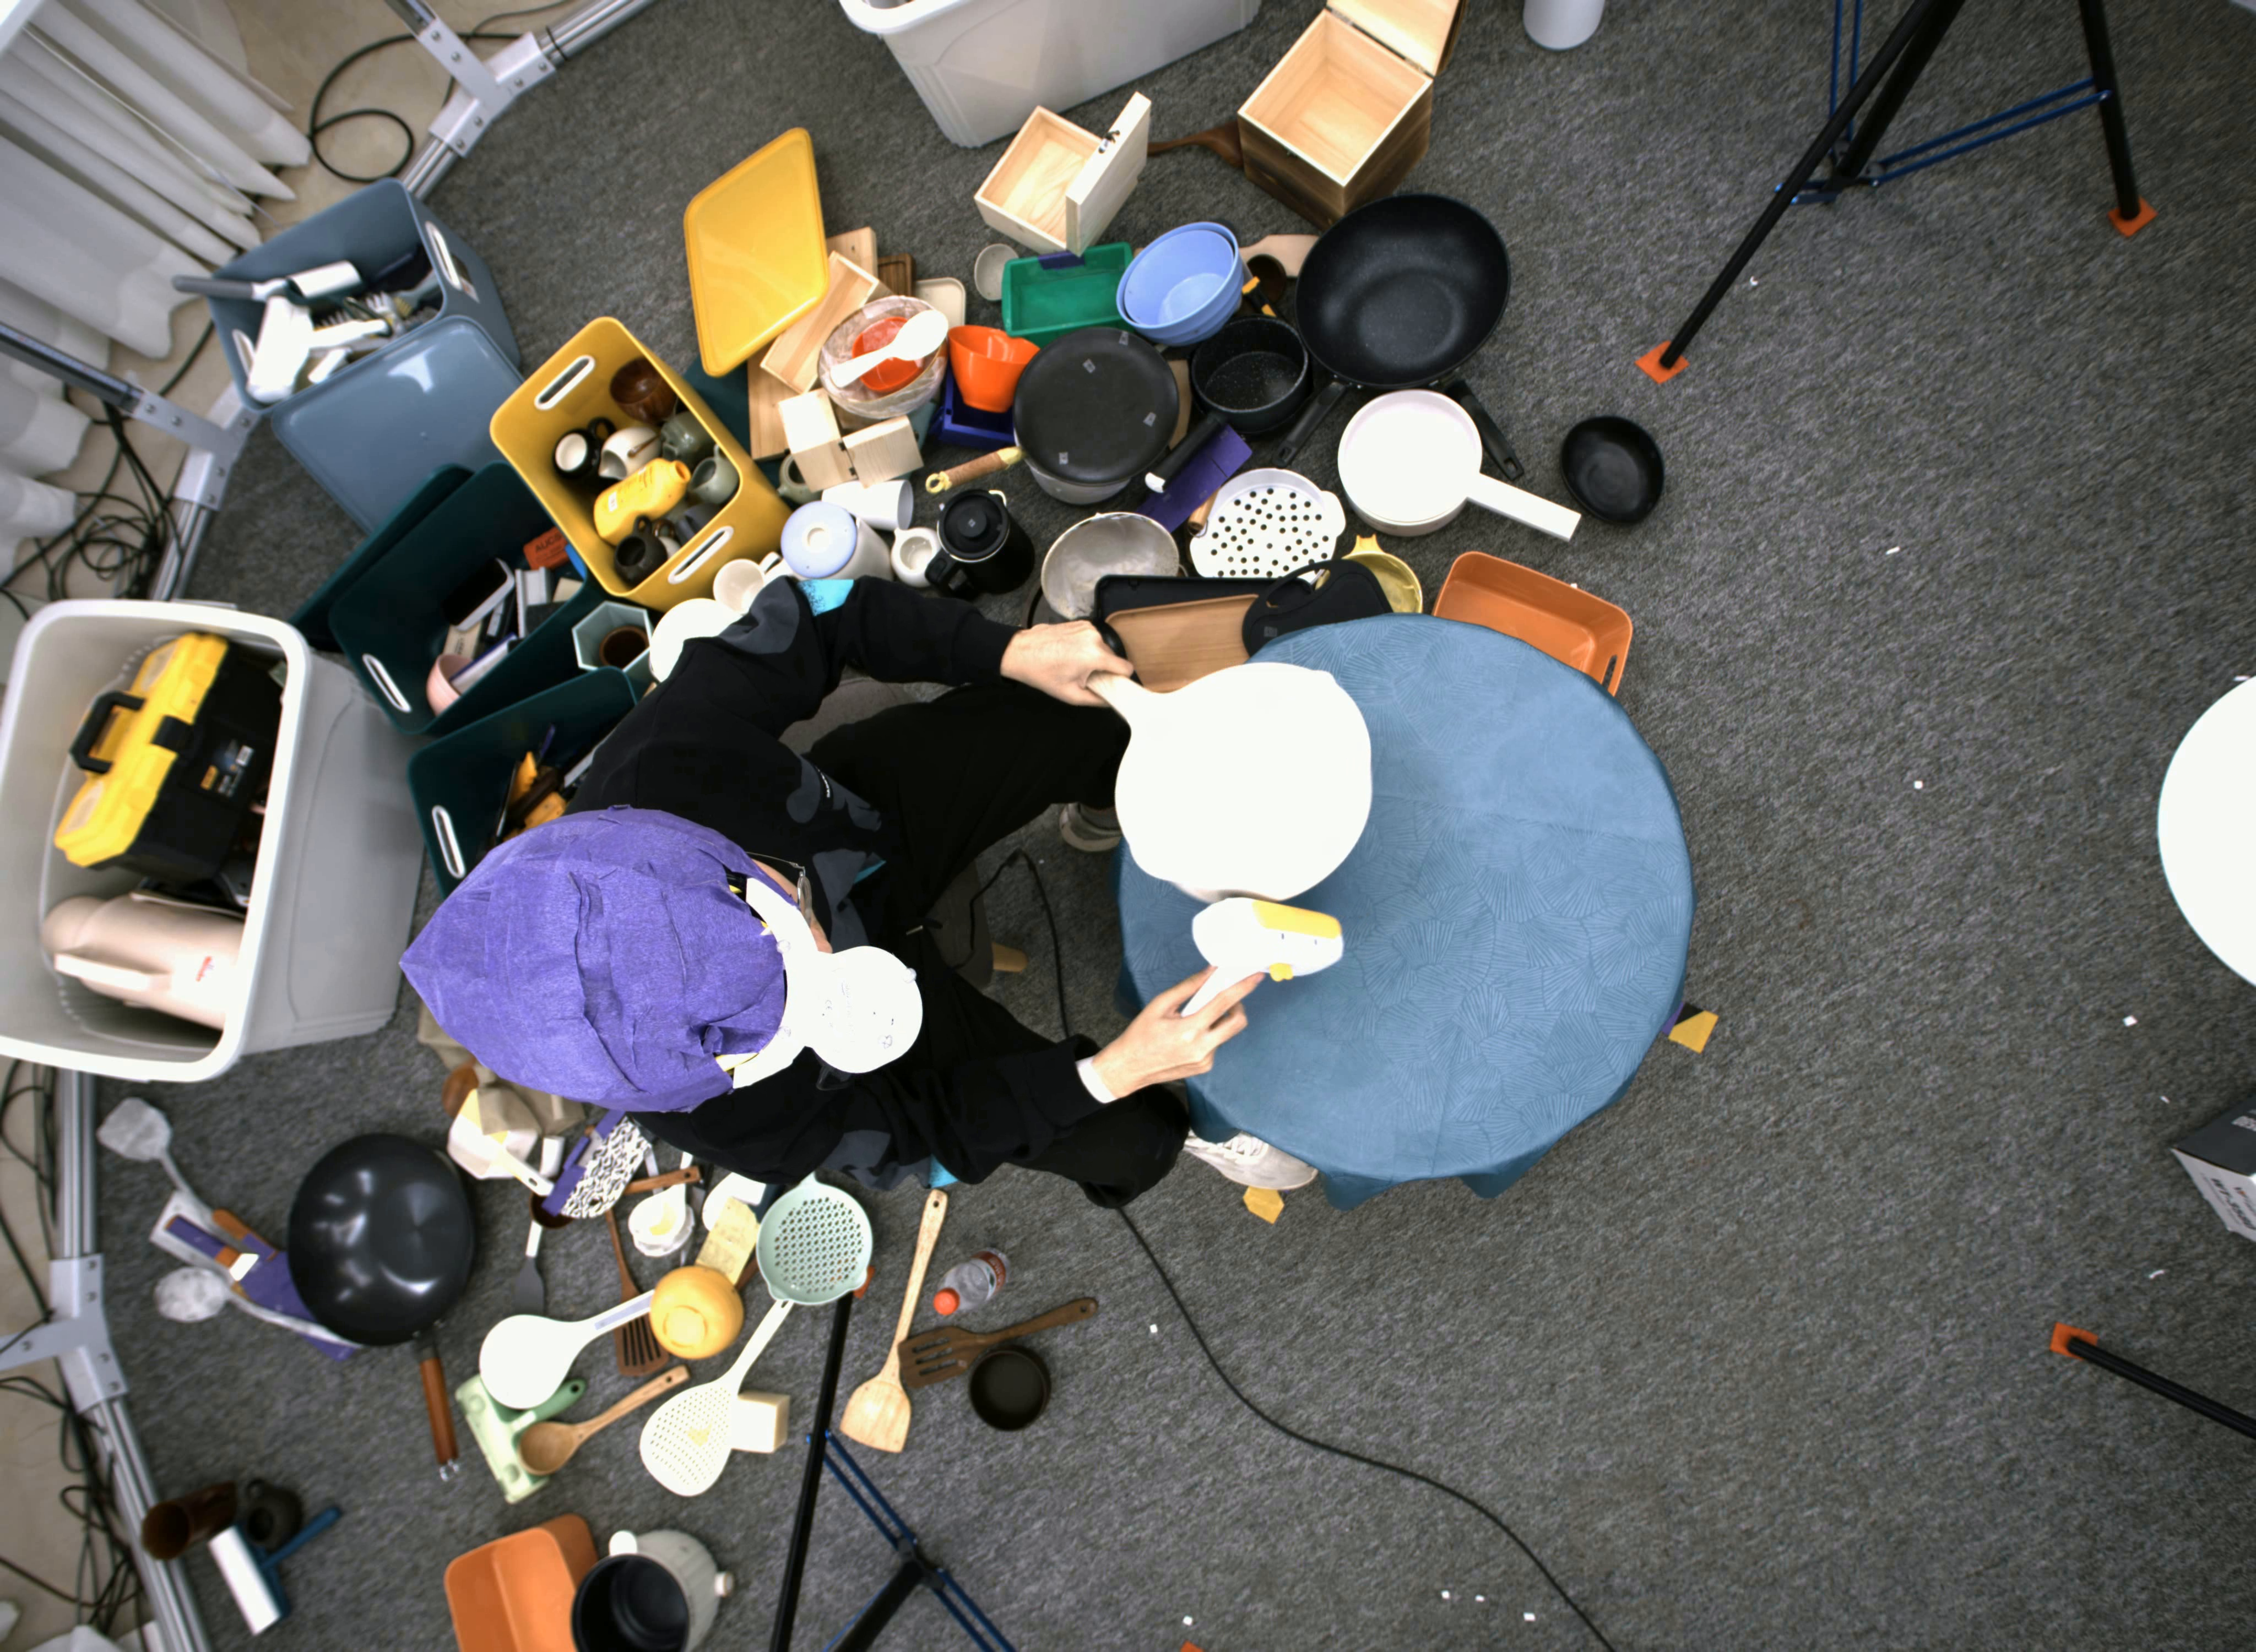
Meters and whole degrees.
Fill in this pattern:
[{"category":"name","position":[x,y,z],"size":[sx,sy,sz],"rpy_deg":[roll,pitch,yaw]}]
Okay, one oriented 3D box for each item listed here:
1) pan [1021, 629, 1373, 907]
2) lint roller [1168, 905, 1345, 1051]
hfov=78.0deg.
[{"category":"pan","position":[0.055,-0.082,1.389],"size":[0.431,0.103,0.262],"rpy_deg":[36,82,35]},{"category":"lint roller","position":[0.100,0.146,1.338],"size":[0.196,0.192,0.073],"rpy_deg":[-42,62,32]}]
